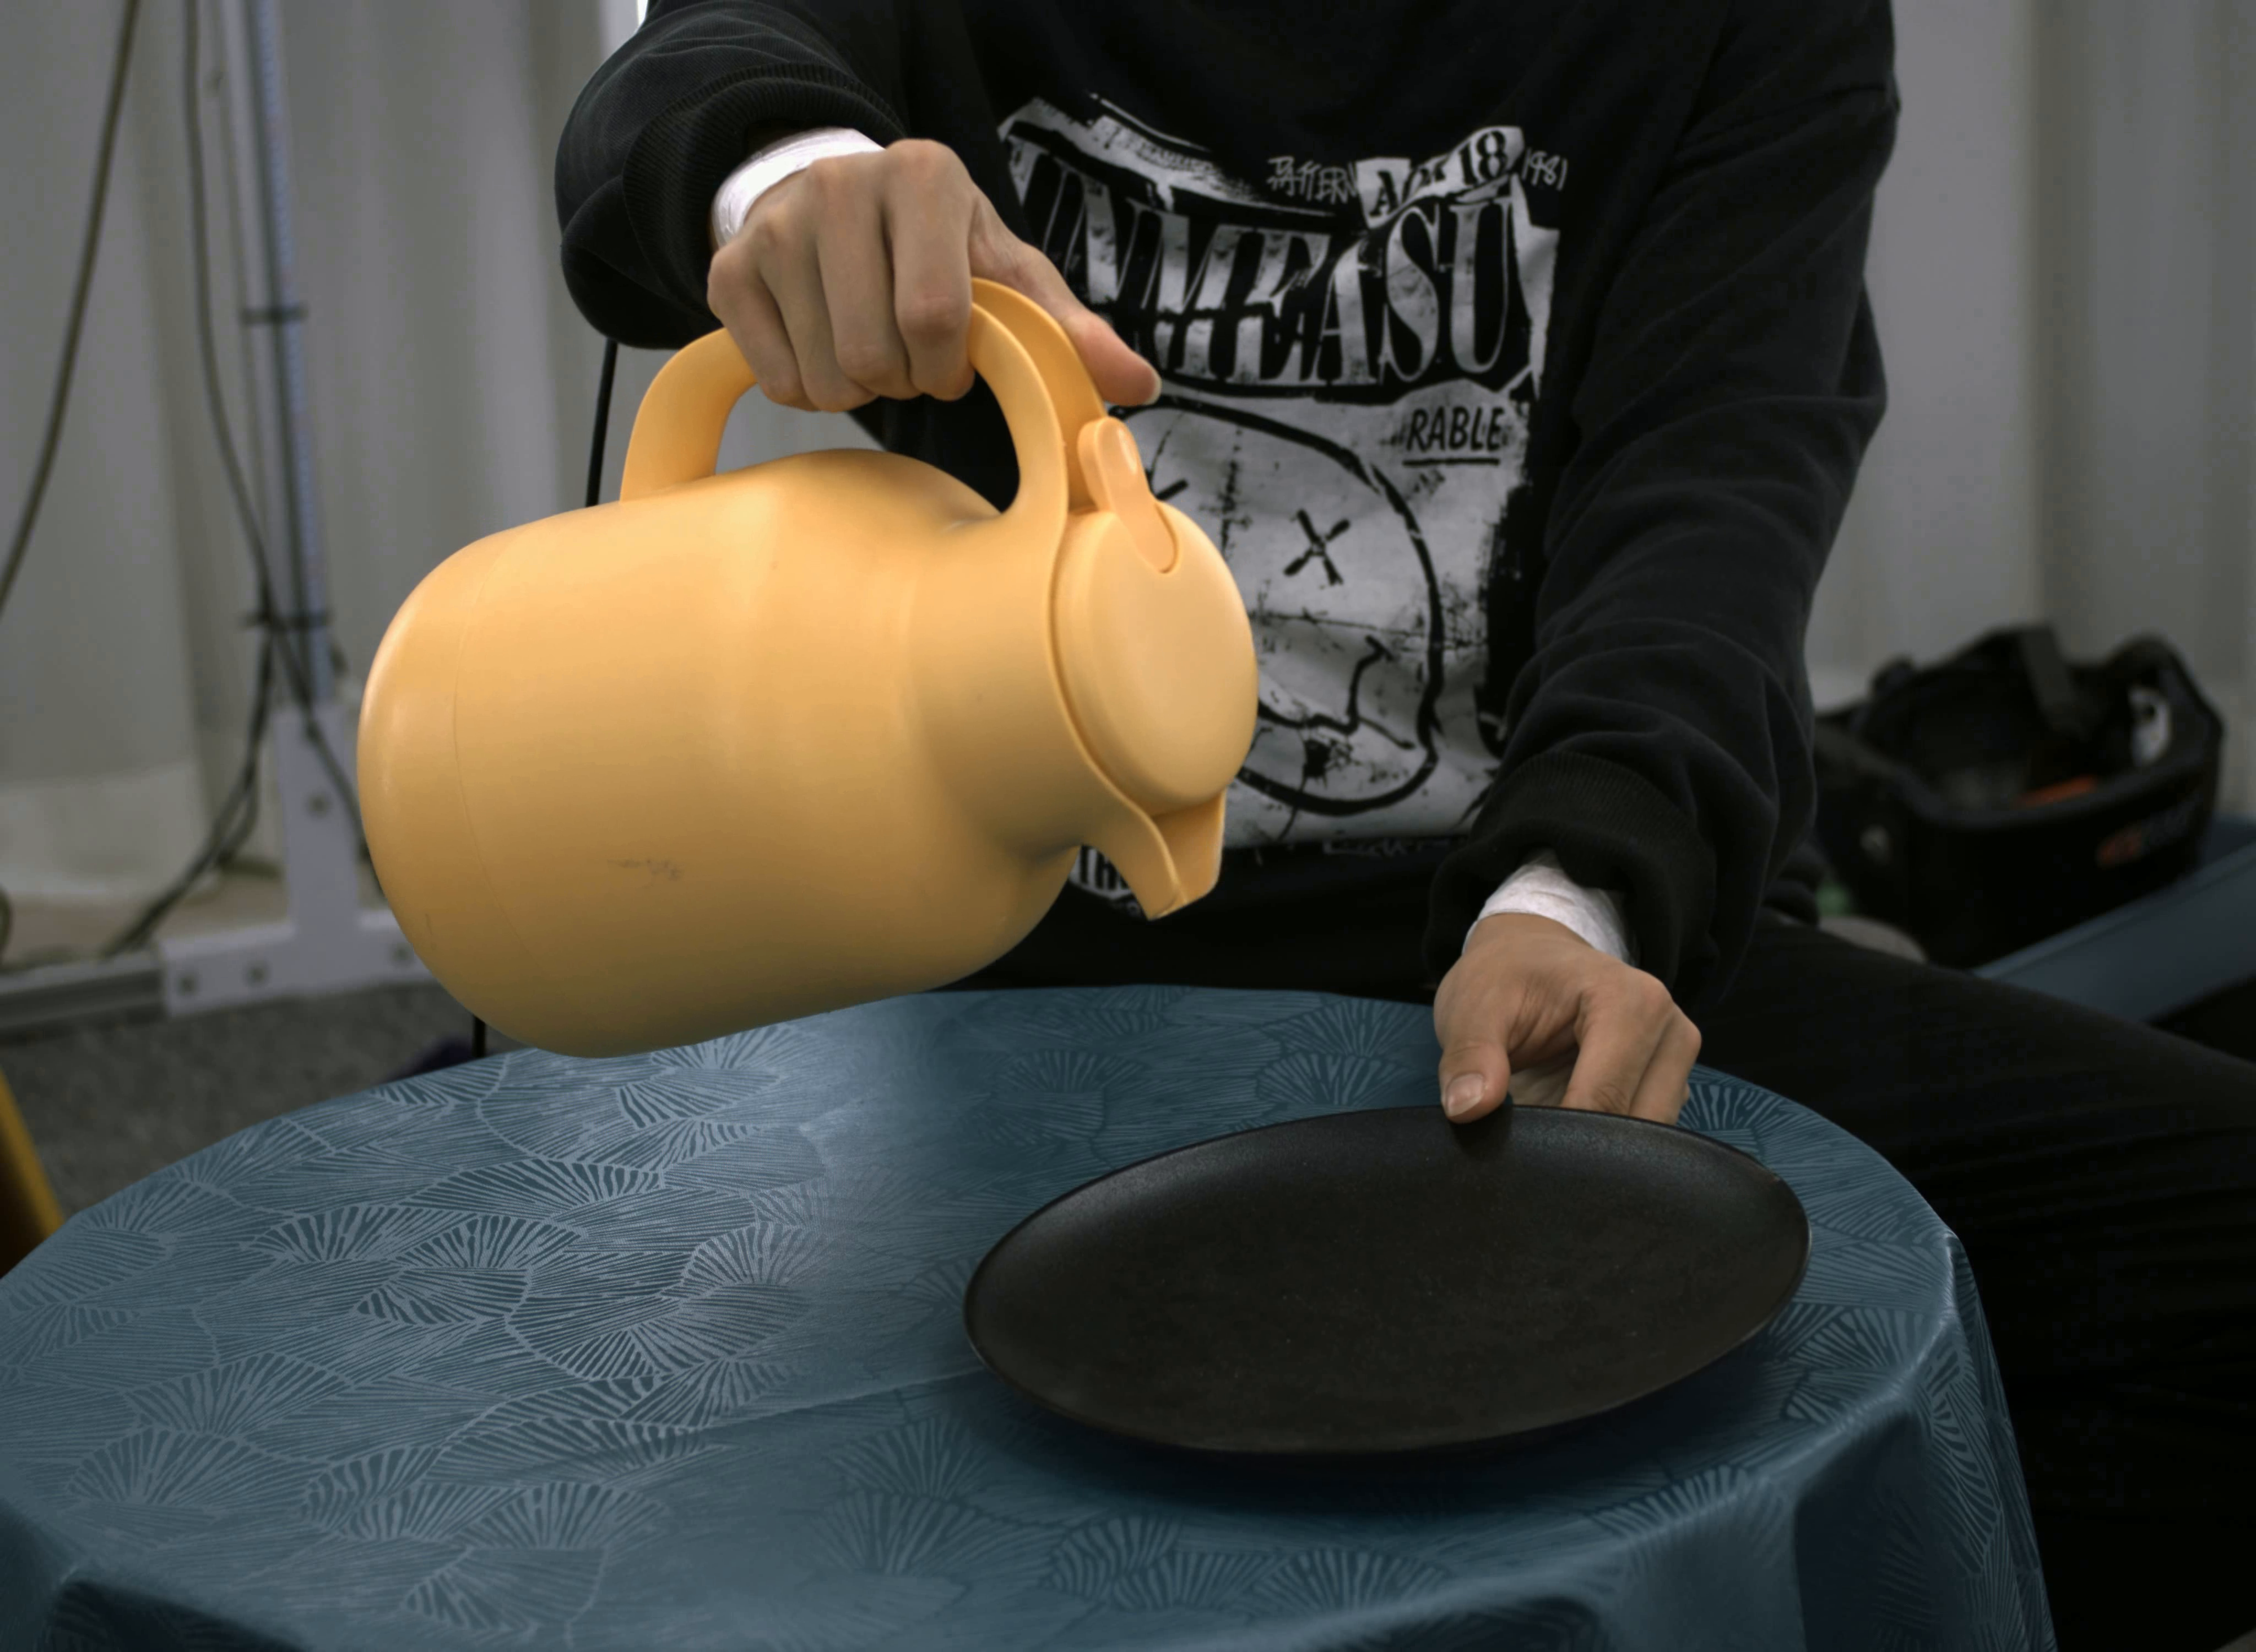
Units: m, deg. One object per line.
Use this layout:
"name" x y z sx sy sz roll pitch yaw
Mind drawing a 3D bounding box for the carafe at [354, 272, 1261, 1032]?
"carafe" -0.091 -0.051 1.593 0.260 0.203 0.163 -9 1 32

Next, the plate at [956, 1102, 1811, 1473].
"plate" 0.073 0.134 1.552 0.243 0.023 0.246 -6 18 2
